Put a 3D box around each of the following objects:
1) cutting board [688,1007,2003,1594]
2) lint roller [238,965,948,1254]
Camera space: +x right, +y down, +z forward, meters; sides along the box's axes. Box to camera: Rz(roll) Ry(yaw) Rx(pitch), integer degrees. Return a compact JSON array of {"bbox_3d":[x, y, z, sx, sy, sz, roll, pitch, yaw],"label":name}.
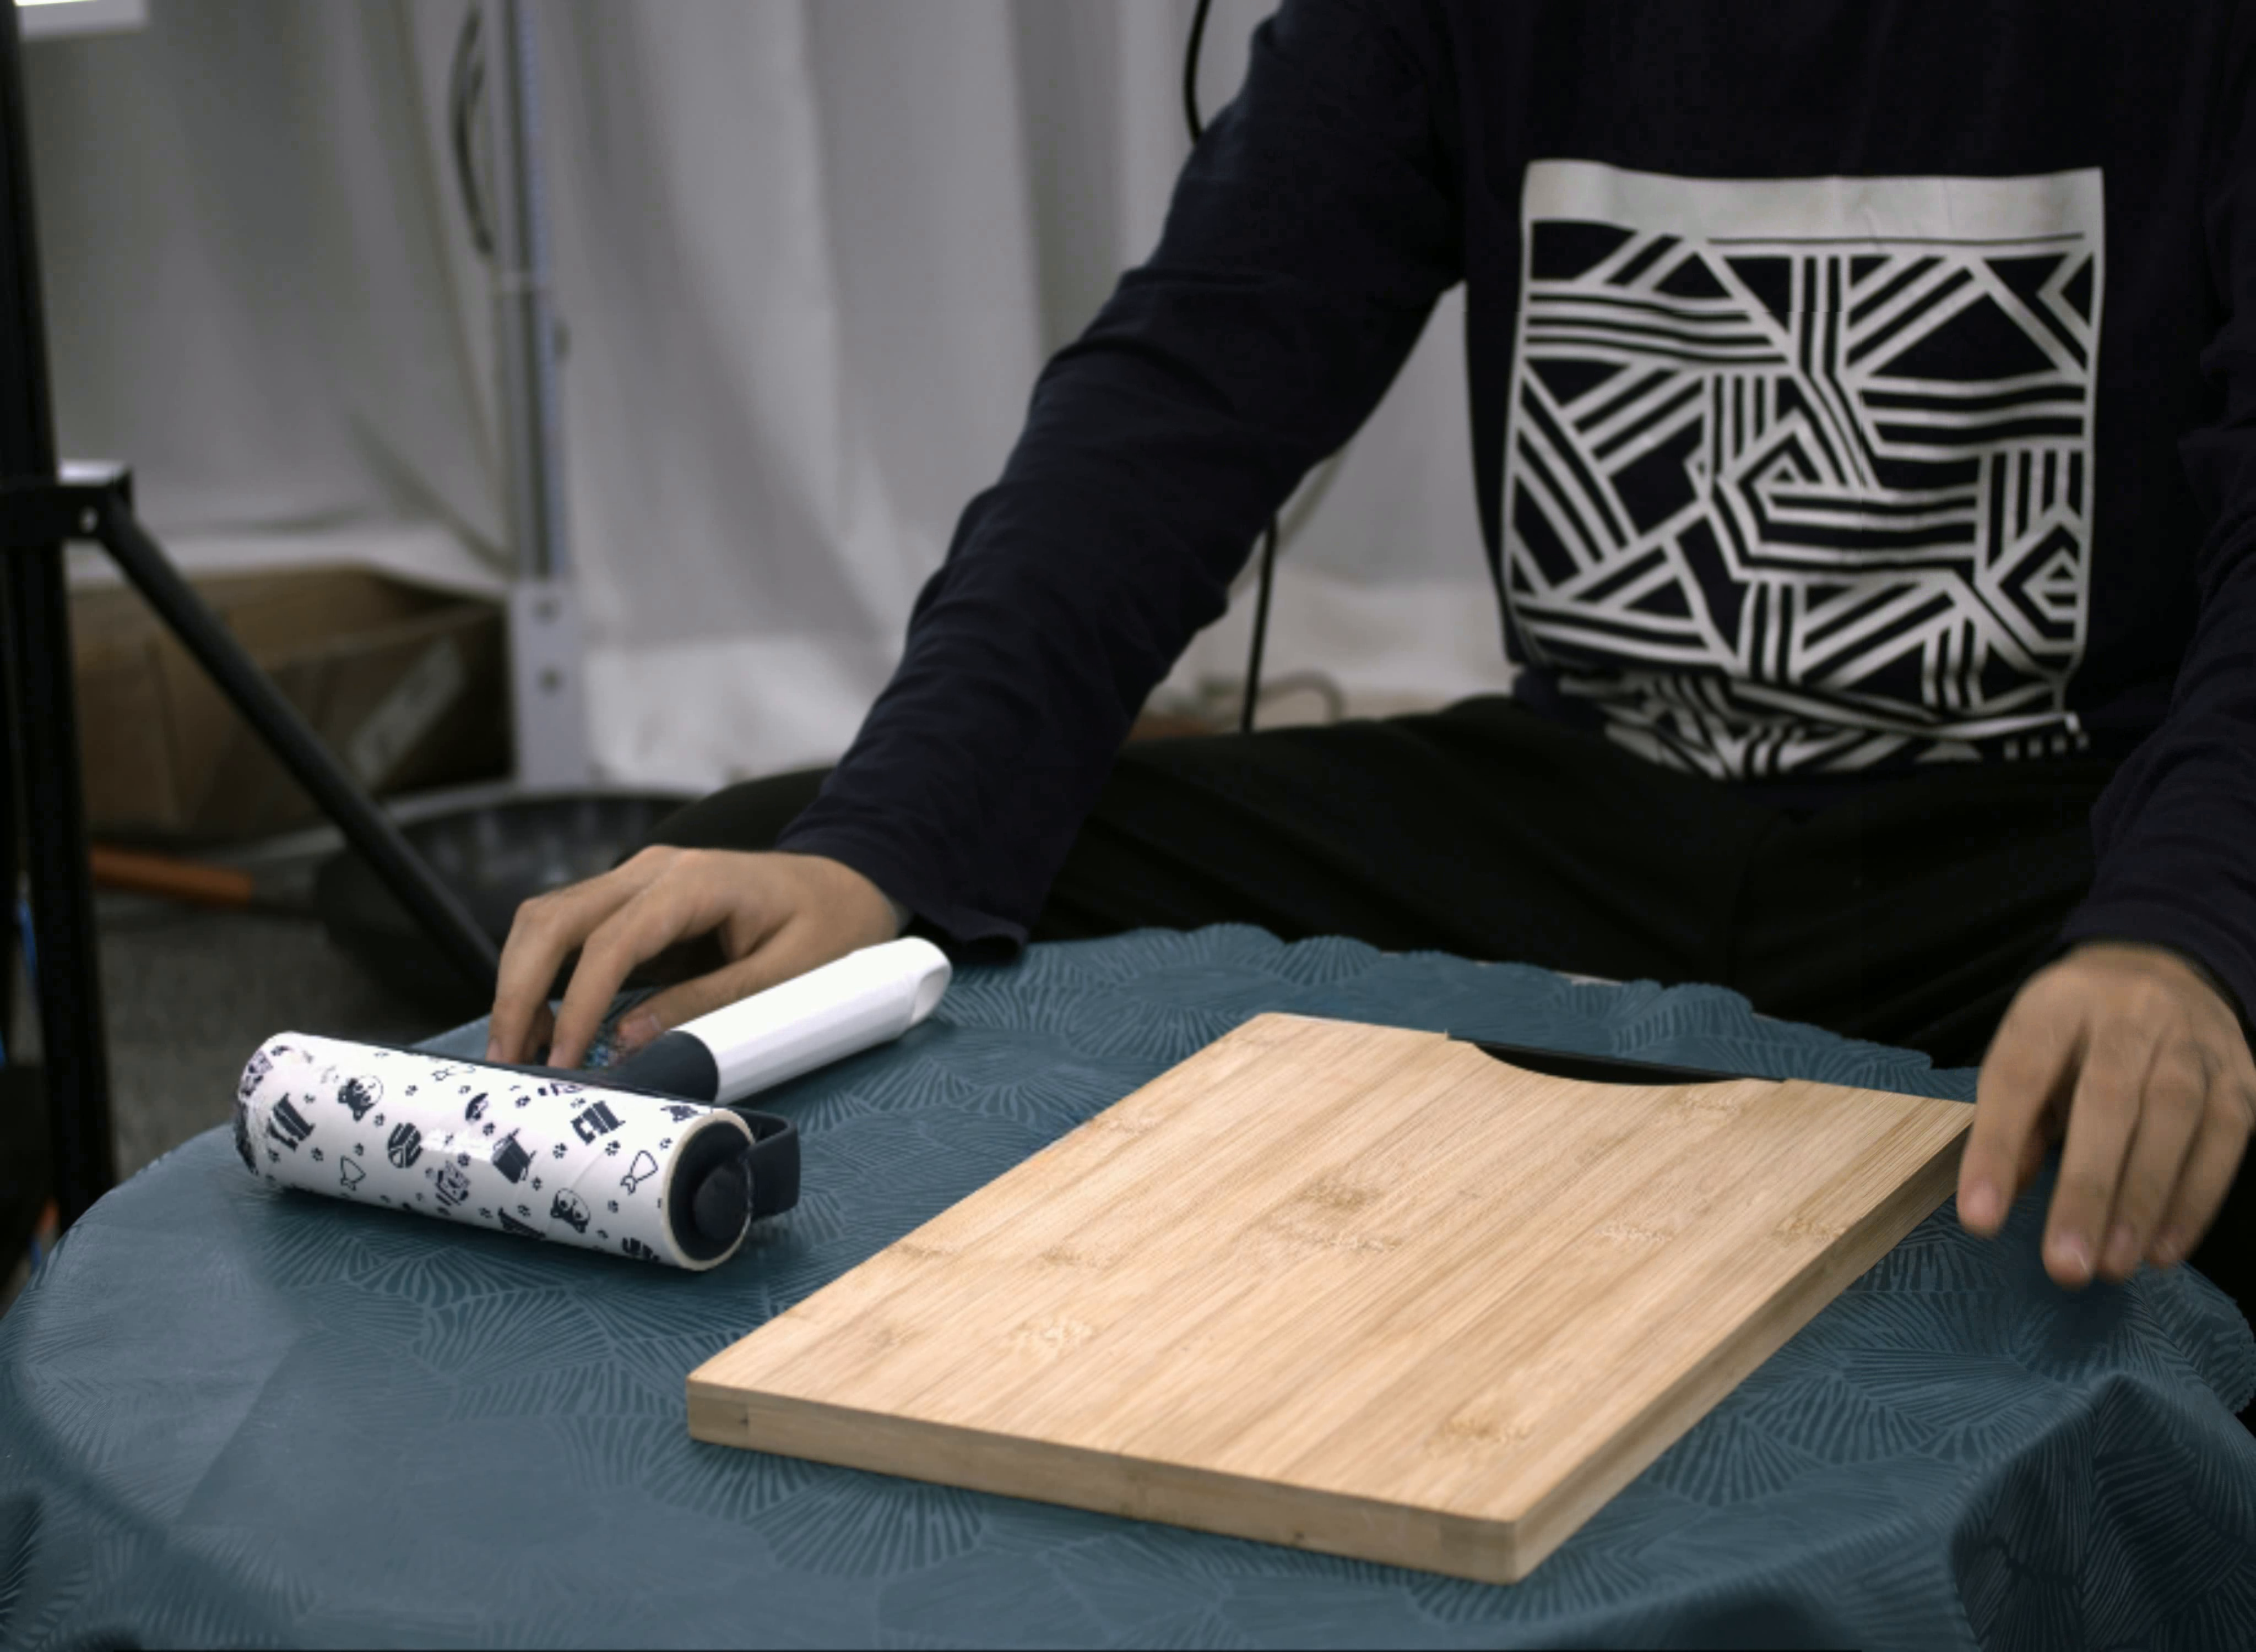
[{"bbox_3d":[0.070,0.121,1.475,0.255,0.023,0.343,7,18,28],"label":"cutting board"},{"bbox_3d":[-0.132,0.071,1.637,0.179,0.050,0.242,6,16,32],"label":"lint roller"}]
